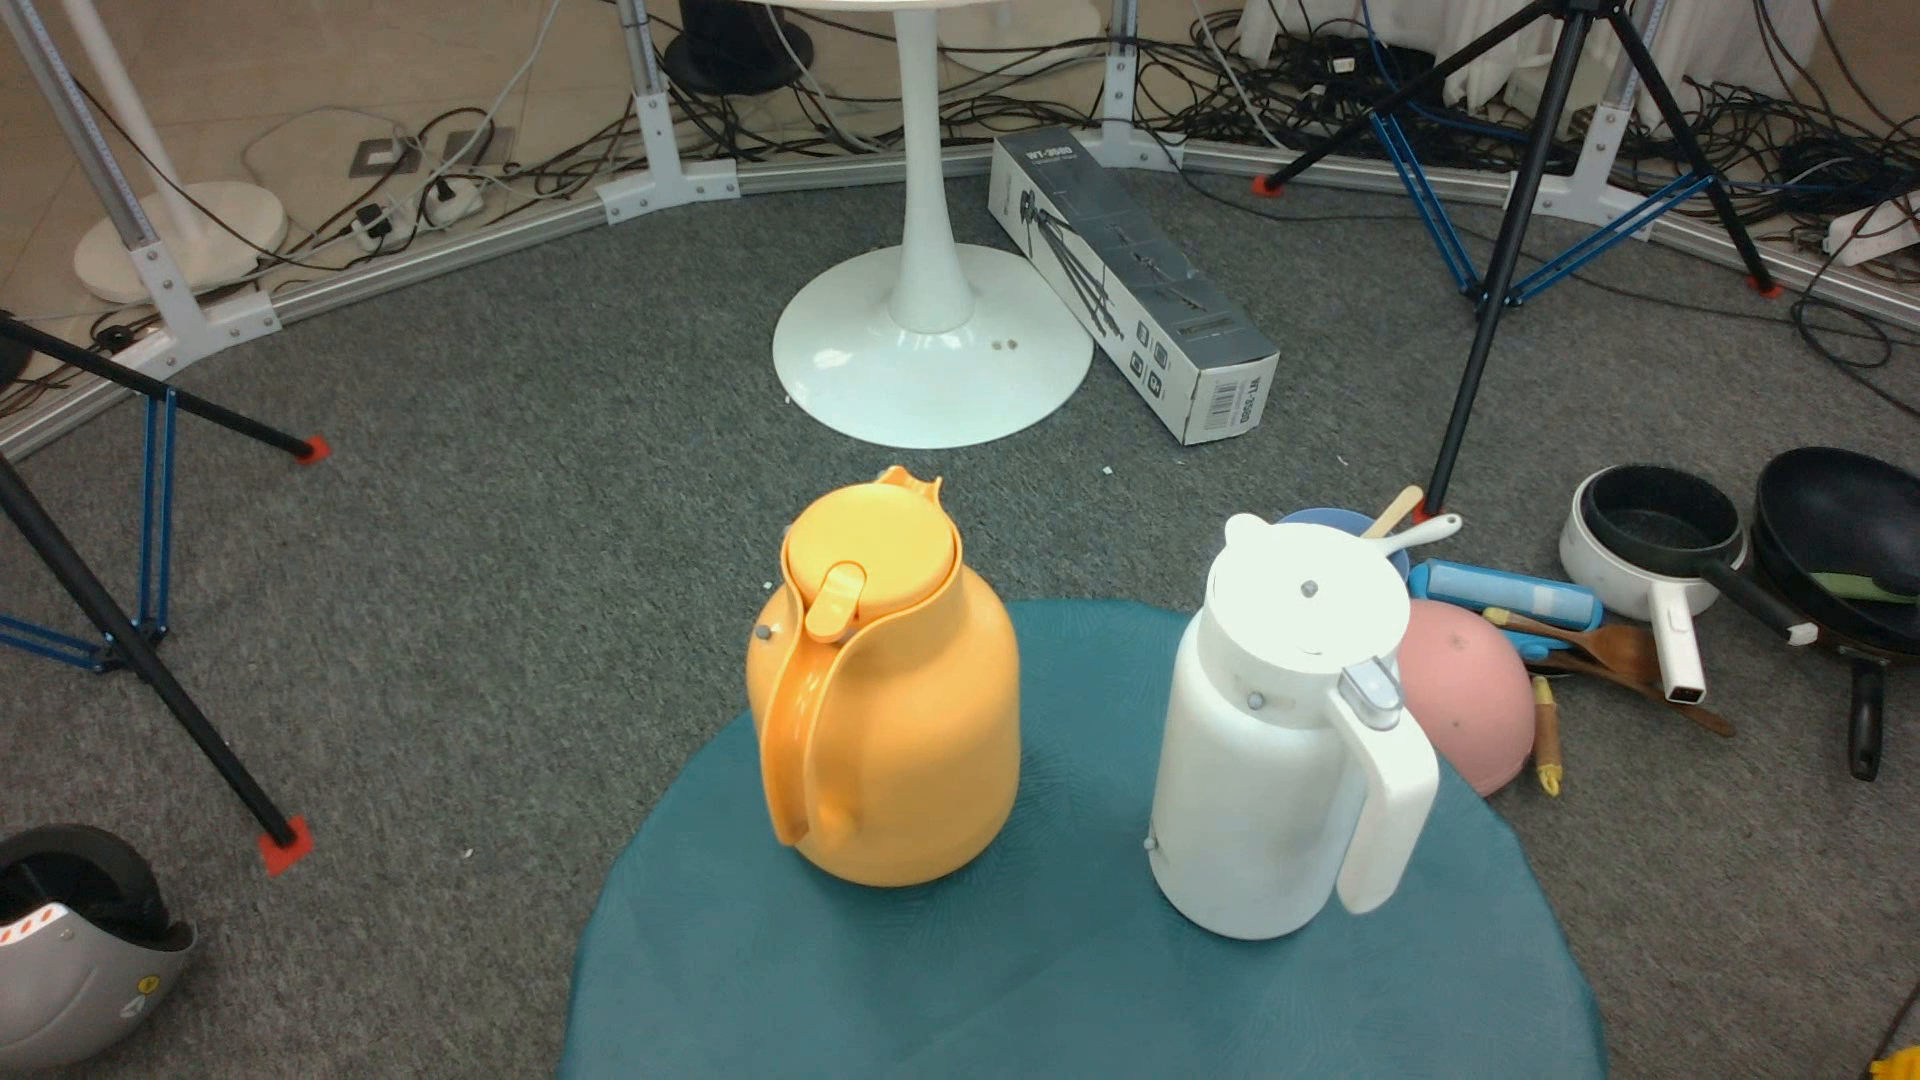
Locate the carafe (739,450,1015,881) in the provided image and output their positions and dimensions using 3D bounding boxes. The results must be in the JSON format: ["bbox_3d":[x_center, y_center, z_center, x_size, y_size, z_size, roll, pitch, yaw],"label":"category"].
[{"bbox_3d":[-0.058,0.088,0.803,0.163,0.259,0.203,15,48,18],"label":"carafe"}]

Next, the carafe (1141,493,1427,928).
[{"bbox_3d":[0.179,0.119,0.770,0.124,0.267,0.173,-17,50,-16],"label":"carafe"}]
